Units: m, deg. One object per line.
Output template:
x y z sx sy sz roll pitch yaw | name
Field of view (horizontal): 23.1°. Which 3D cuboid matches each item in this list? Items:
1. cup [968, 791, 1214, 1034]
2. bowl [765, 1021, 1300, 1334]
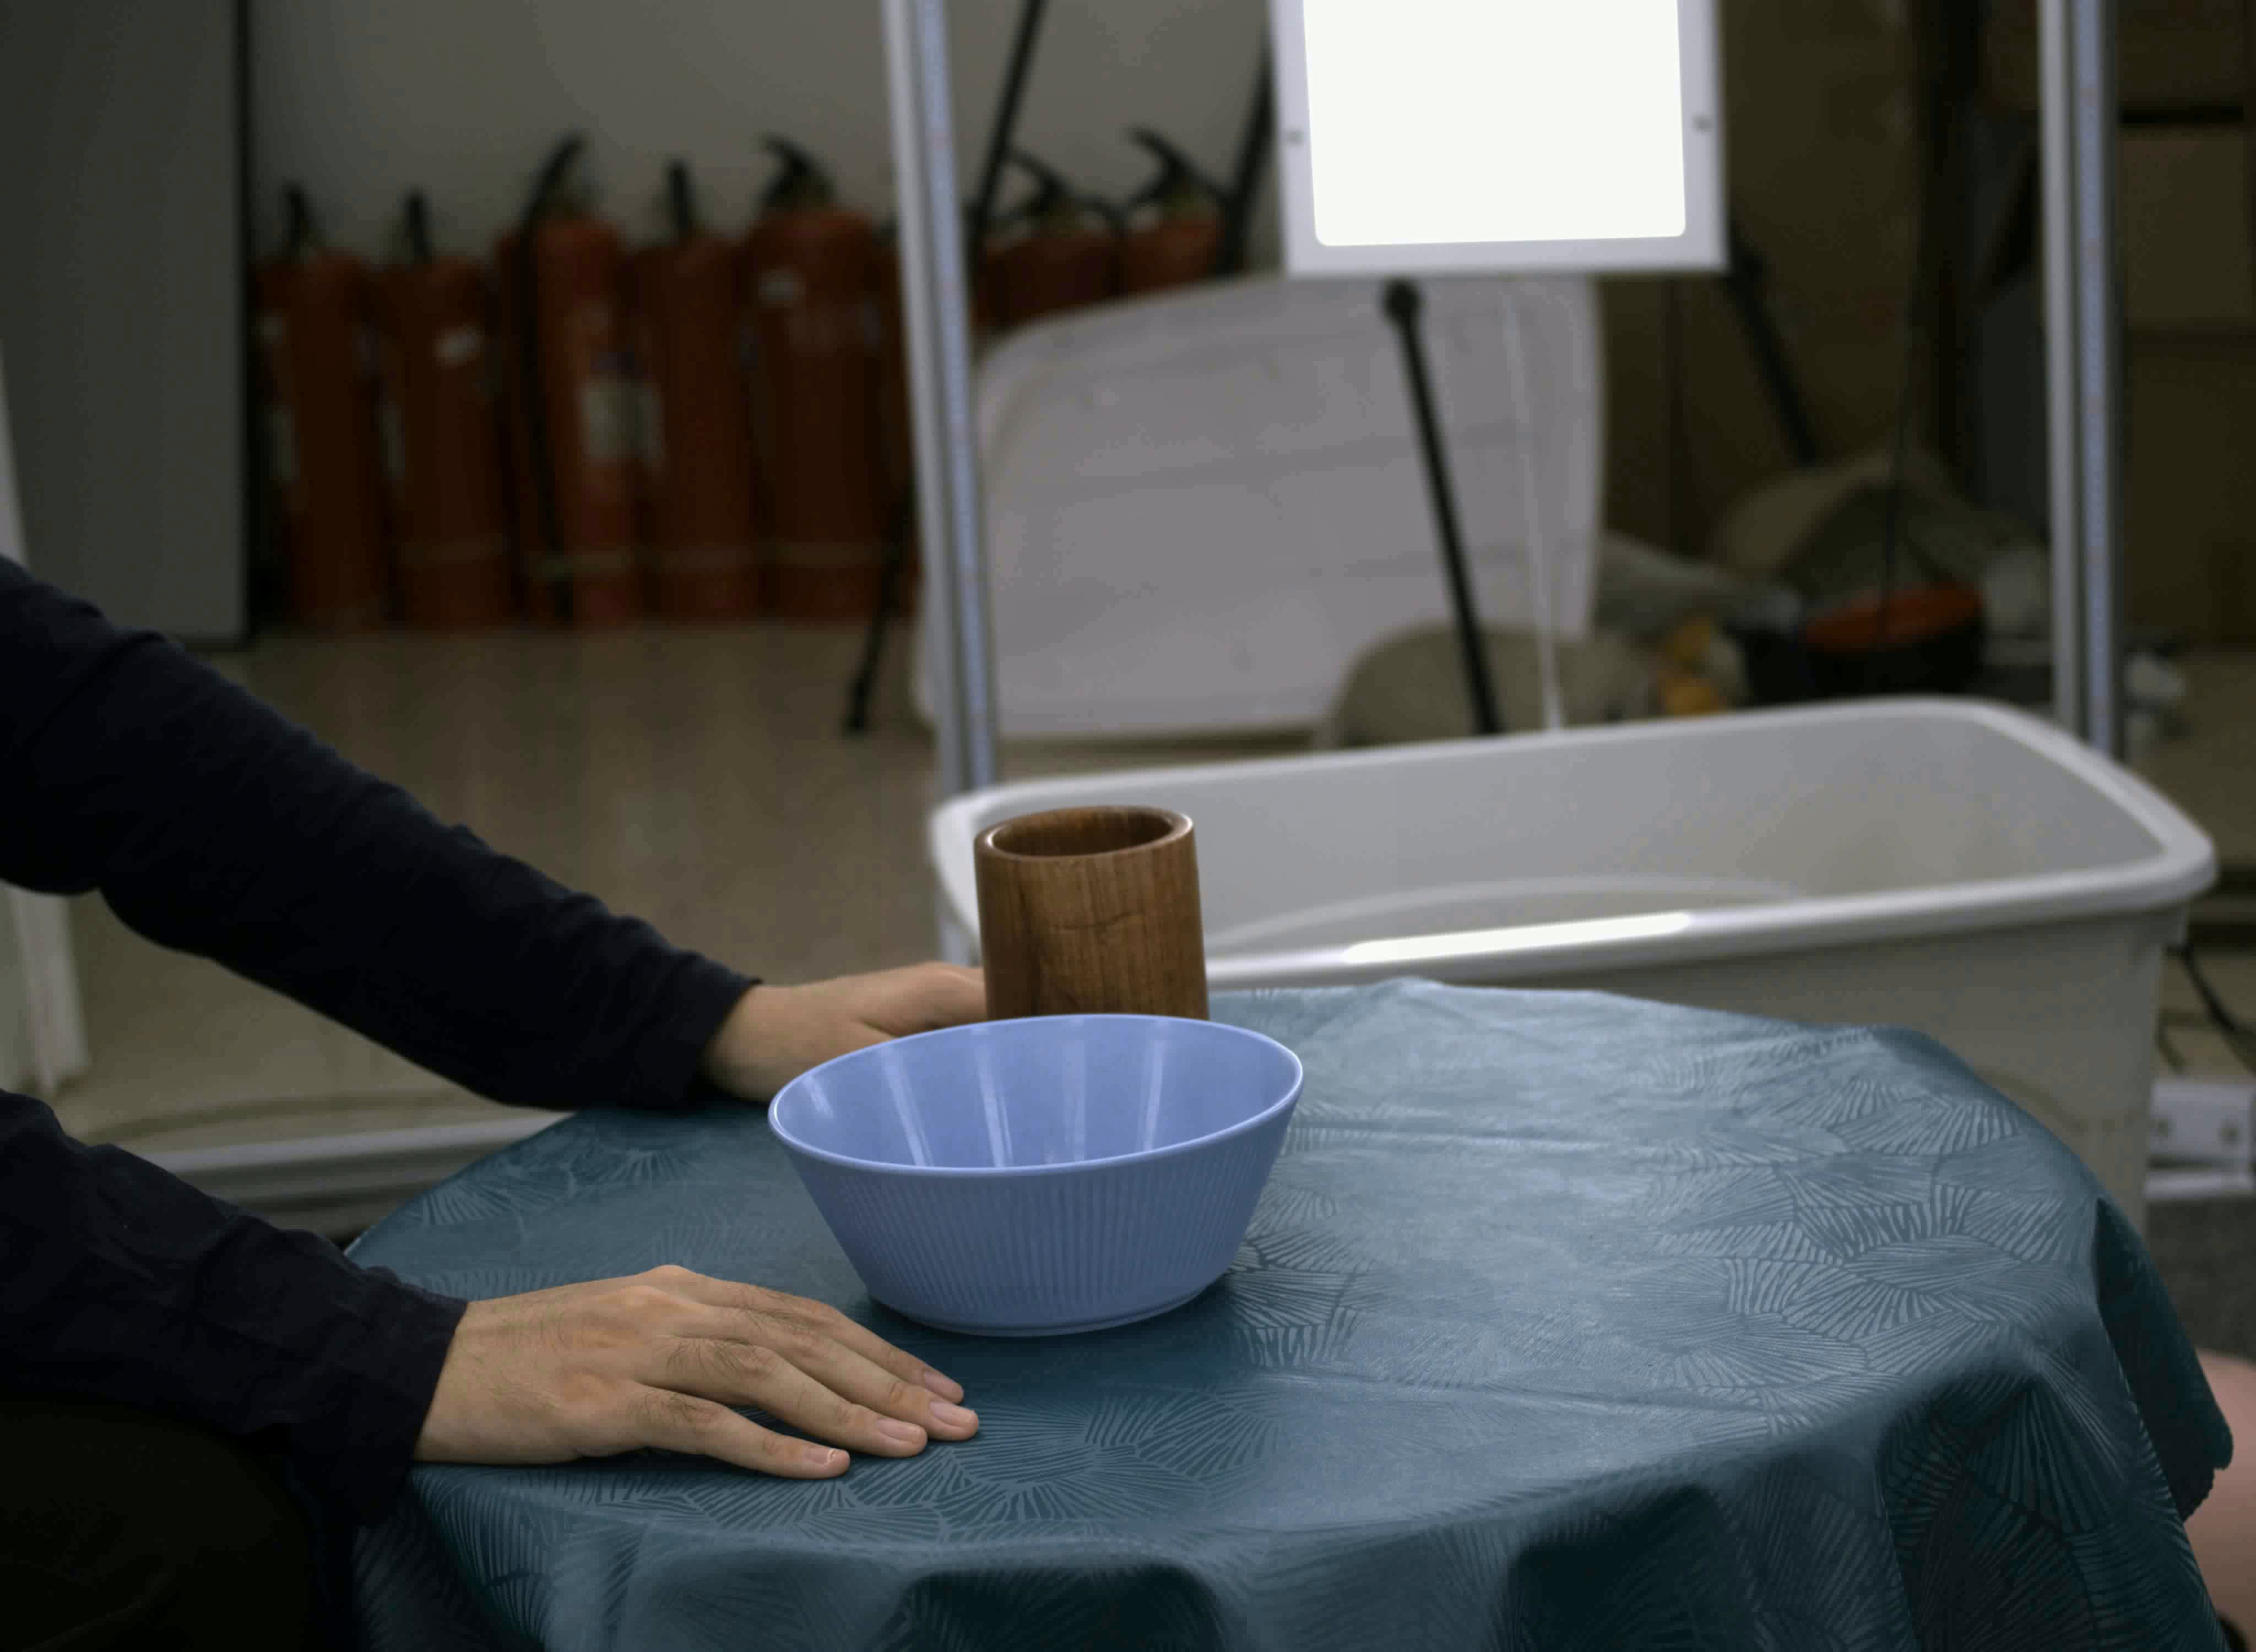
-0.011 0.054 1.957 0.087 0.119 0.087 -7 12 0 | cup
-0.029 0.117 1.800 0.175 0.070 0.176 -6 13 0 | bowl
